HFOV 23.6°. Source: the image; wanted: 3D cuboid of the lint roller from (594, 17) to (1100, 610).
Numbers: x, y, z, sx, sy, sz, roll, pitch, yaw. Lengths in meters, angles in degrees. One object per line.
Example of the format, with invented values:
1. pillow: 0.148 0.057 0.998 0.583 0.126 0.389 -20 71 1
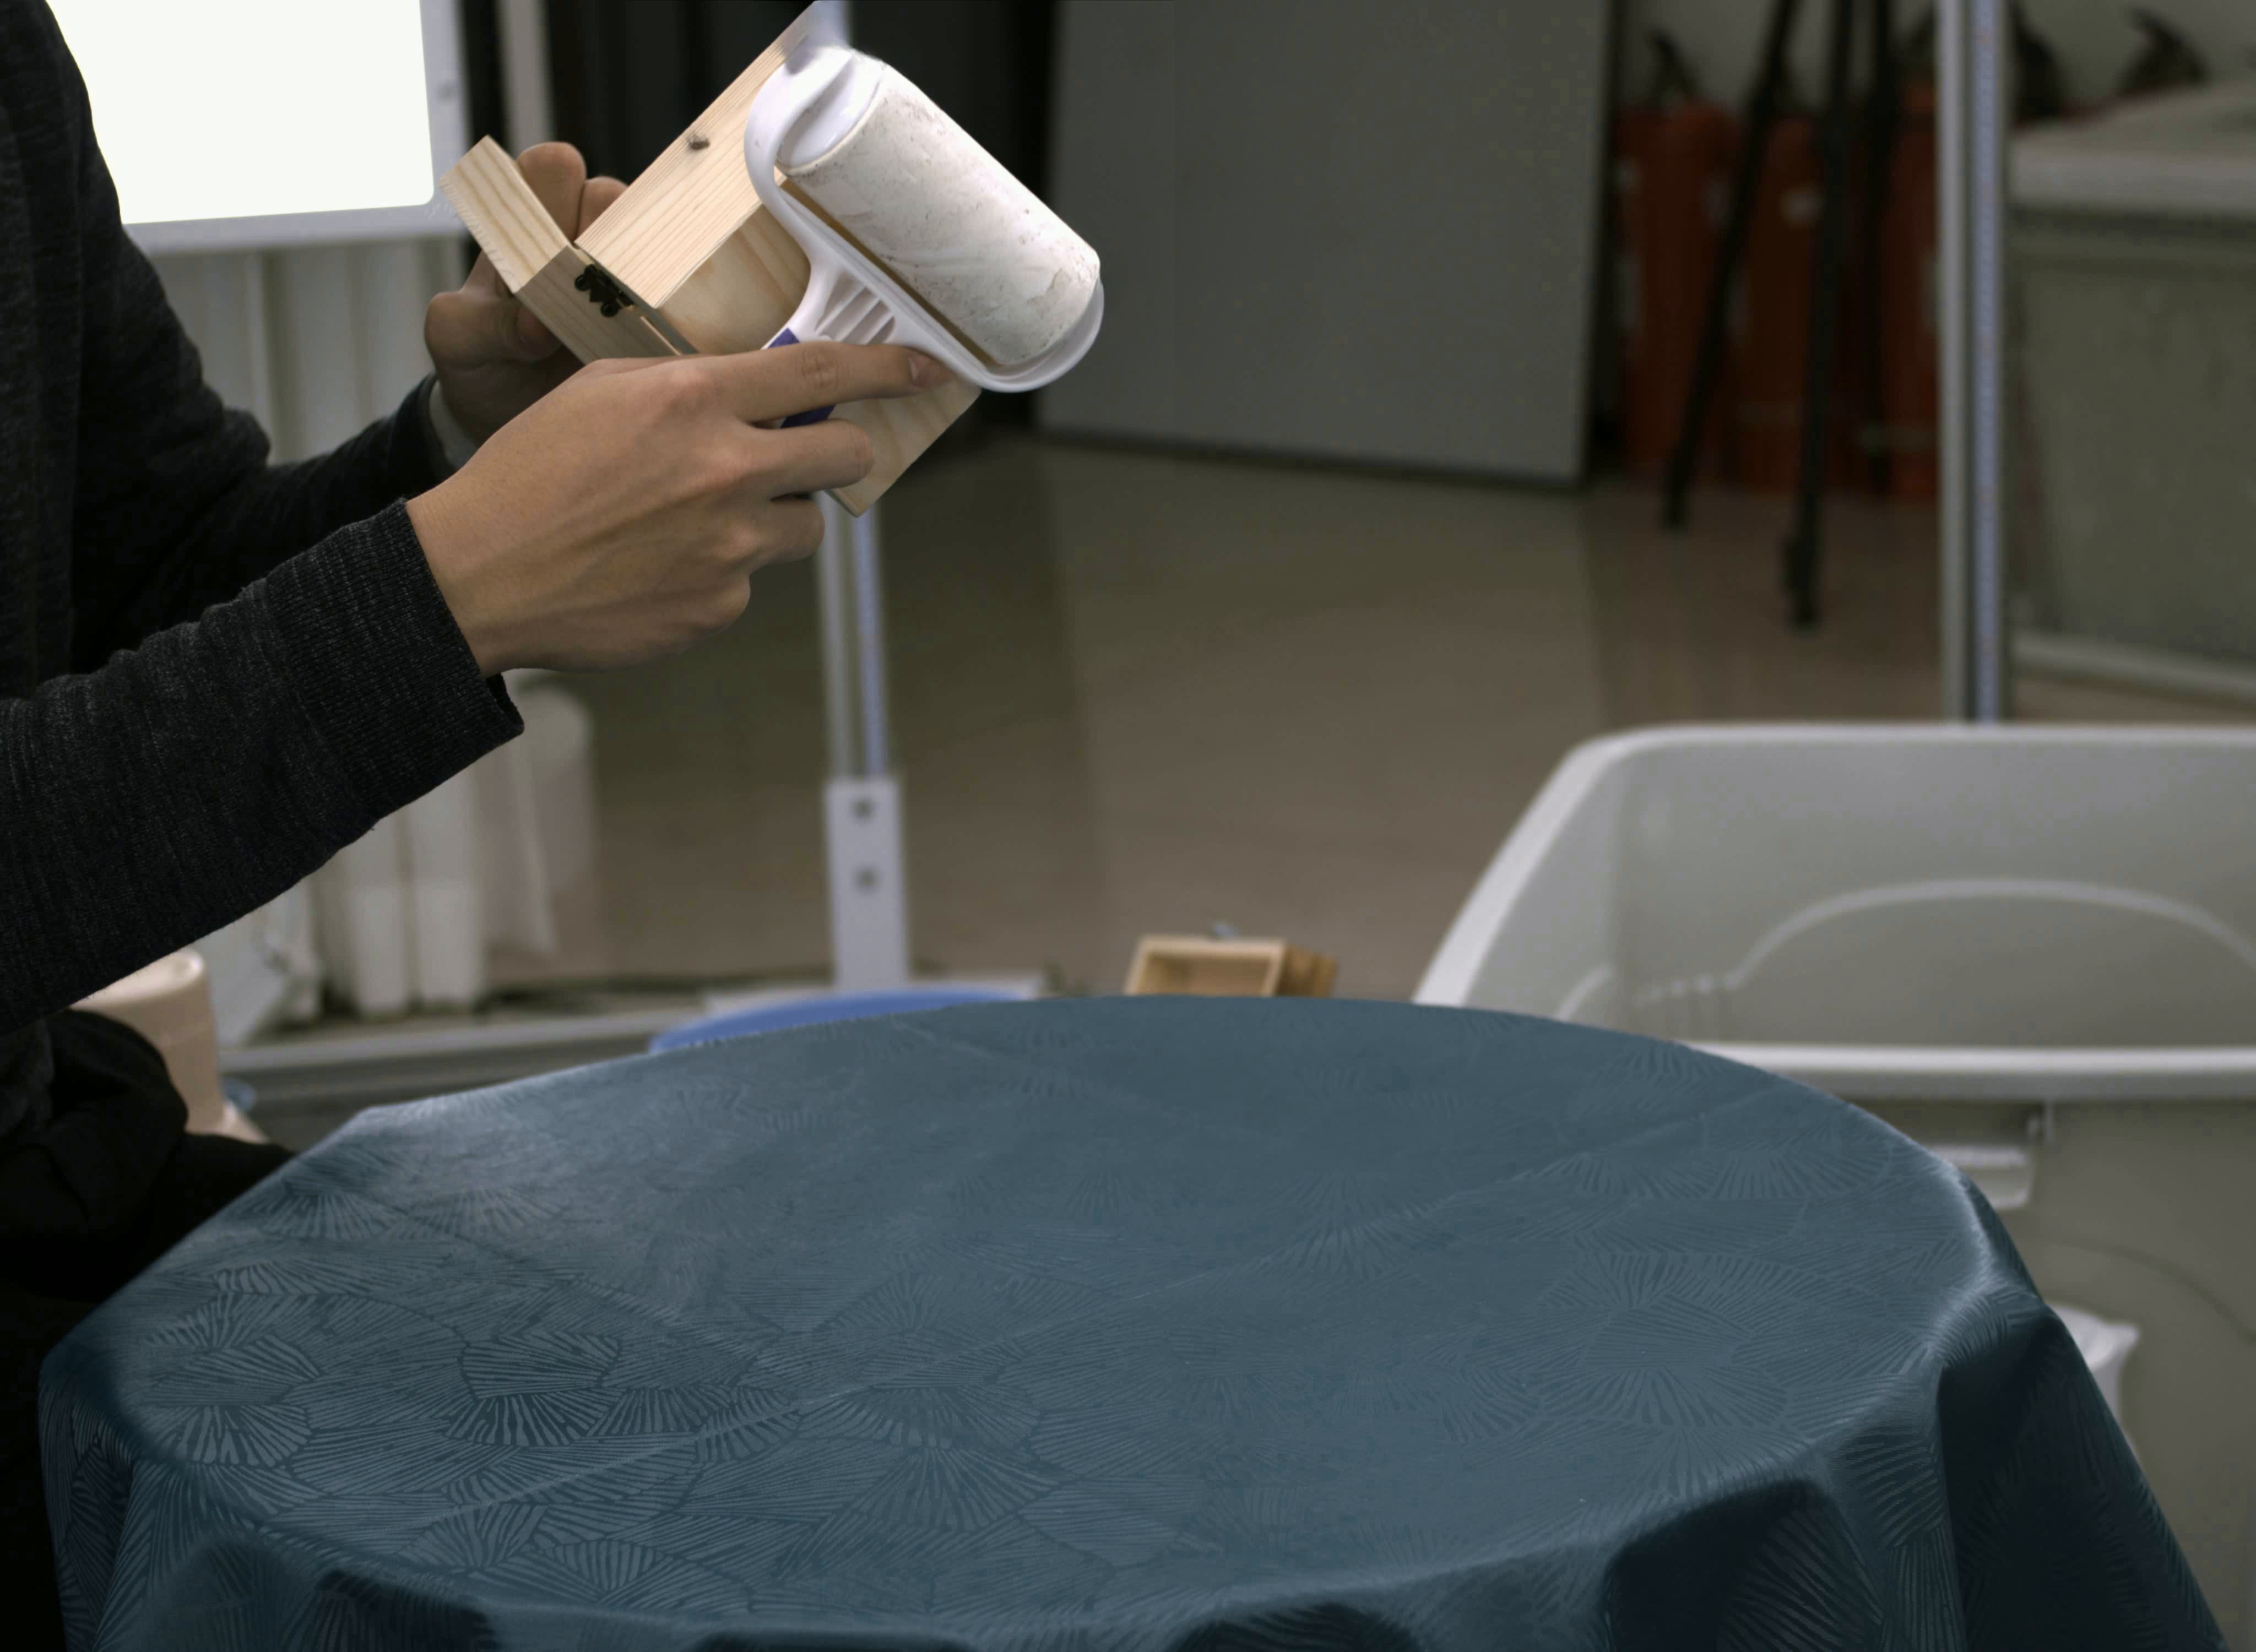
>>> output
1. lint roller: -0.097 -0.138 1.614 0.131 0.181 0.051 41 -10 -32

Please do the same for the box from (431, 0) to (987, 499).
1. box: -0.121 -0.192 1.728 0.134 0.101 0.186 -46 32 -2
